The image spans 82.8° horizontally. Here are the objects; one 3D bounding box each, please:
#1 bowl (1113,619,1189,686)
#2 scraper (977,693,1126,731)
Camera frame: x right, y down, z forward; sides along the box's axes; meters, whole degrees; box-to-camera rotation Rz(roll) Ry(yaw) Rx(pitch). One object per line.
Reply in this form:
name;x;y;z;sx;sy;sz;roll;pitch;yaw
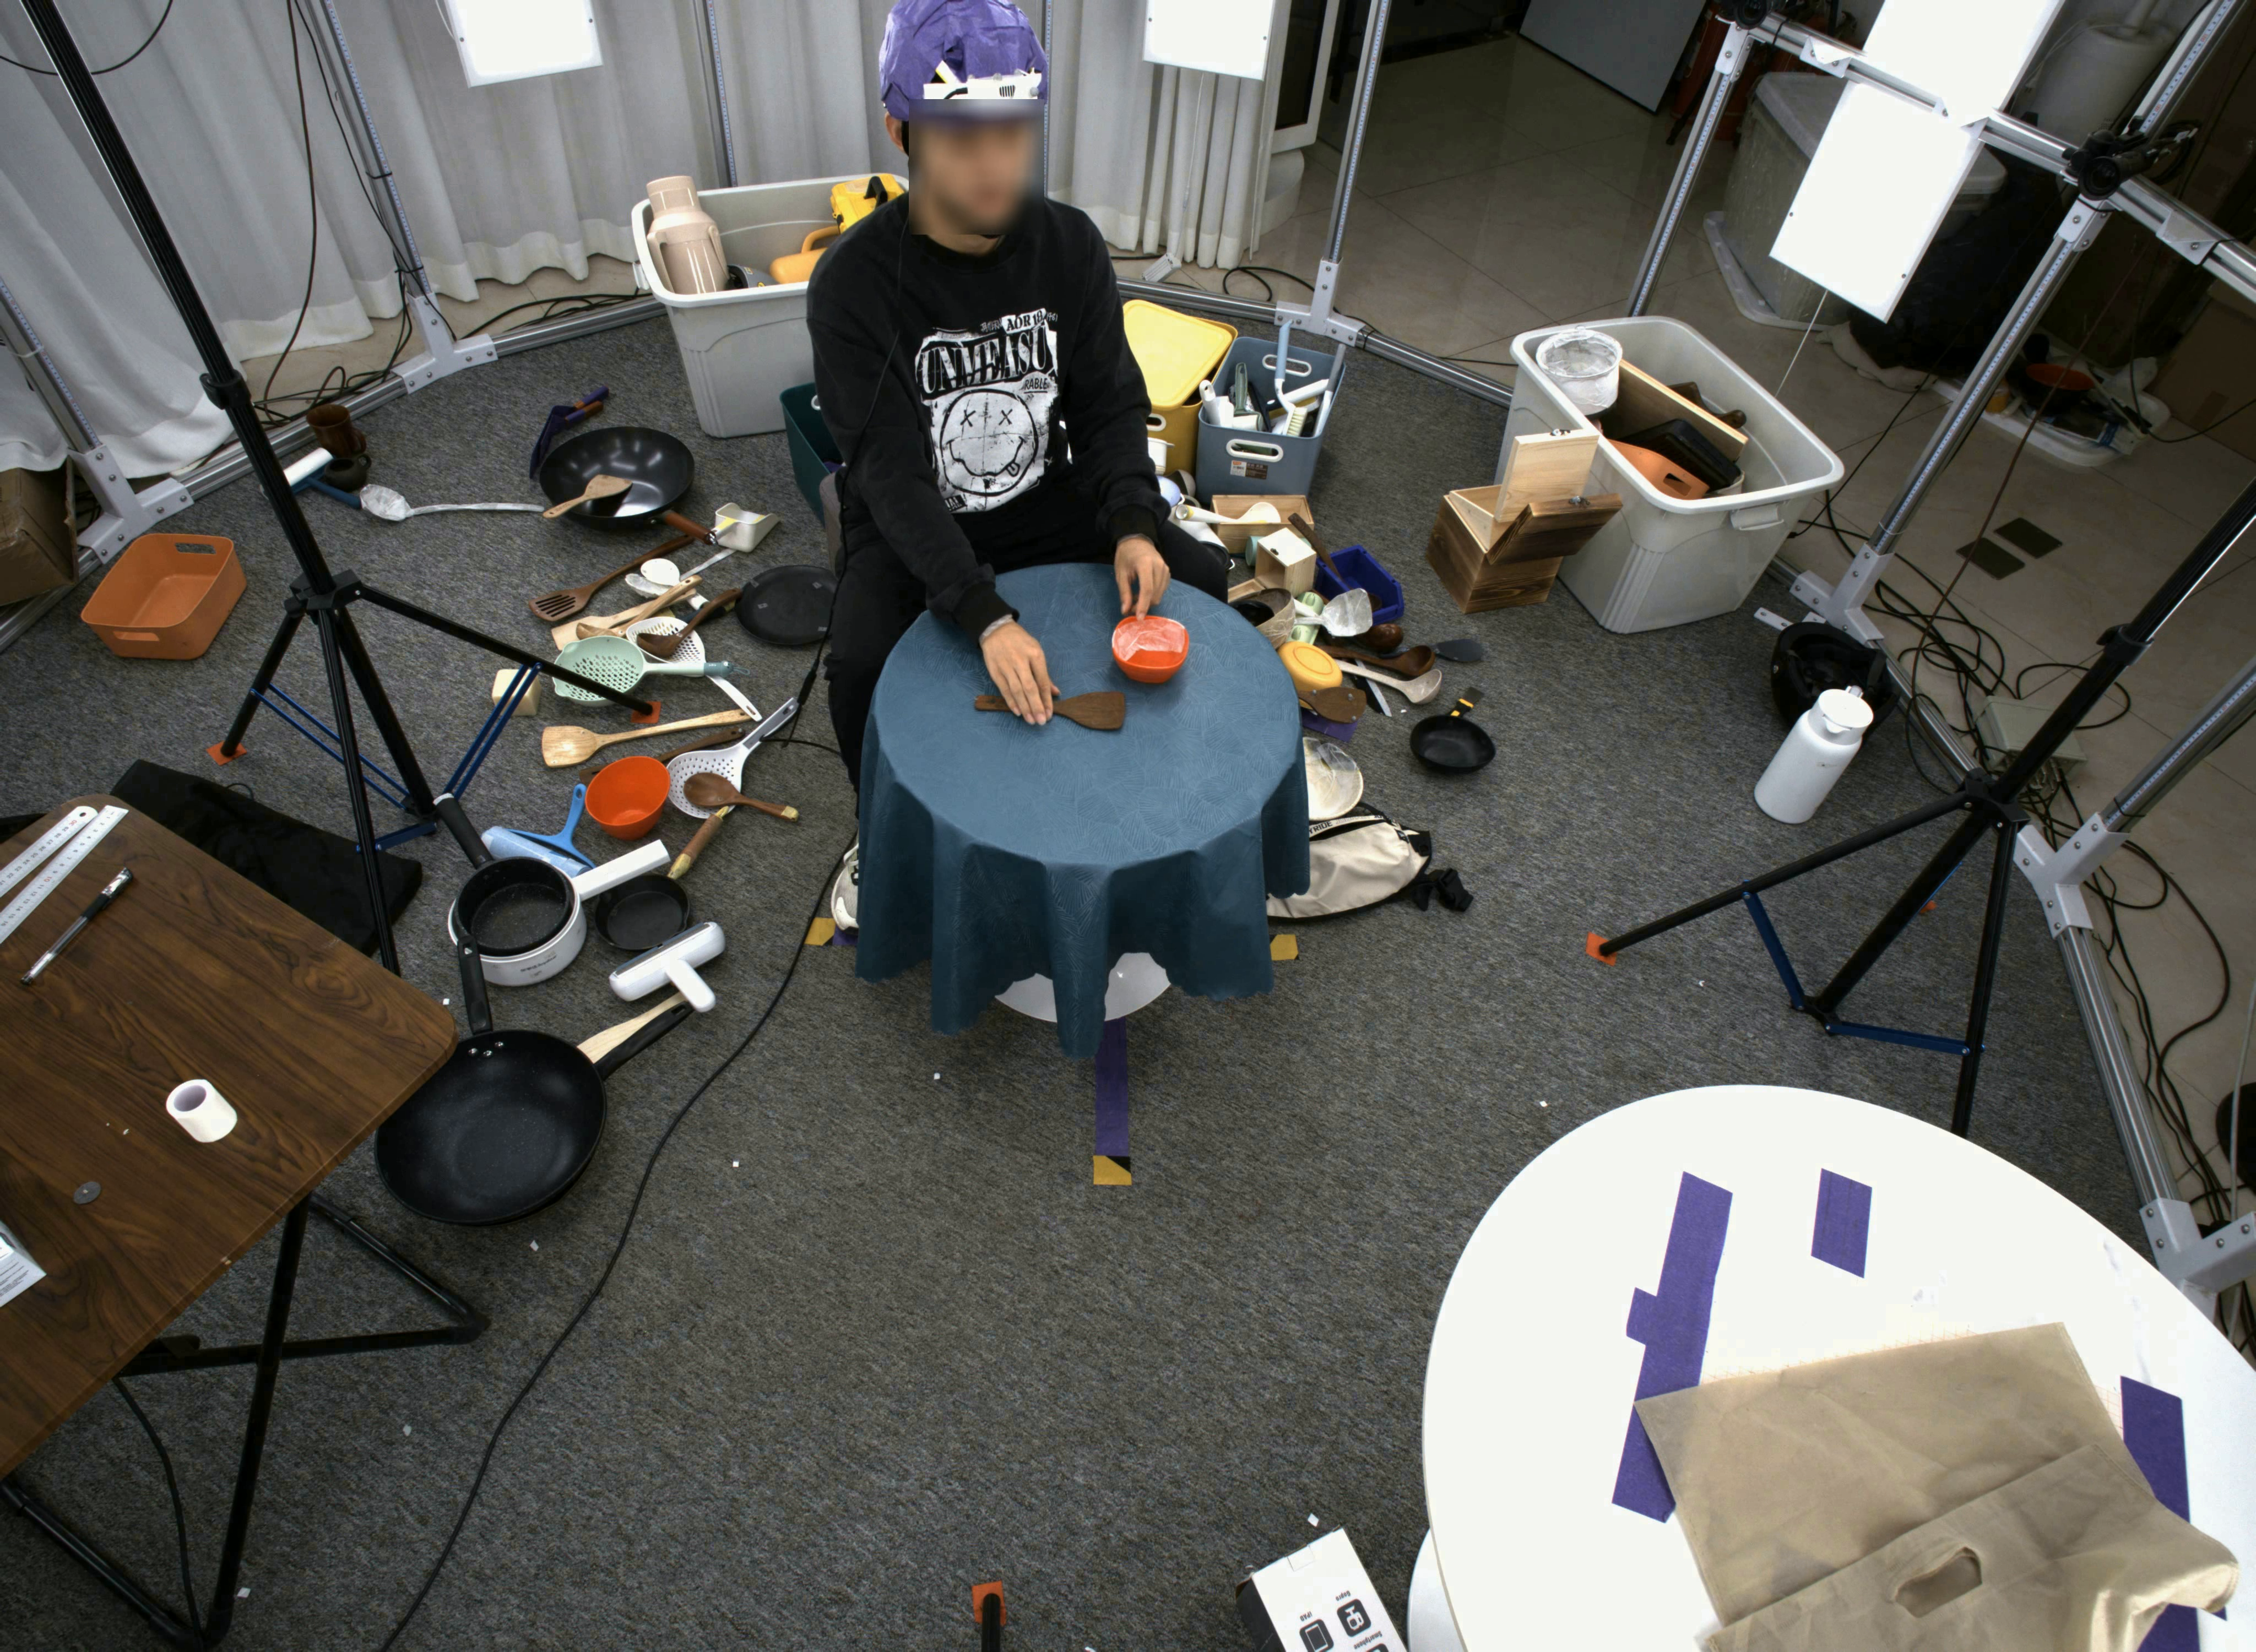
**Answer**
bowl;0.032;-0.247;1.871;0.119;0.050;0.122;2;50;-2
scraper;-0.109;-0.167;1.817;0.211;0.010;0.078;4;47;0
